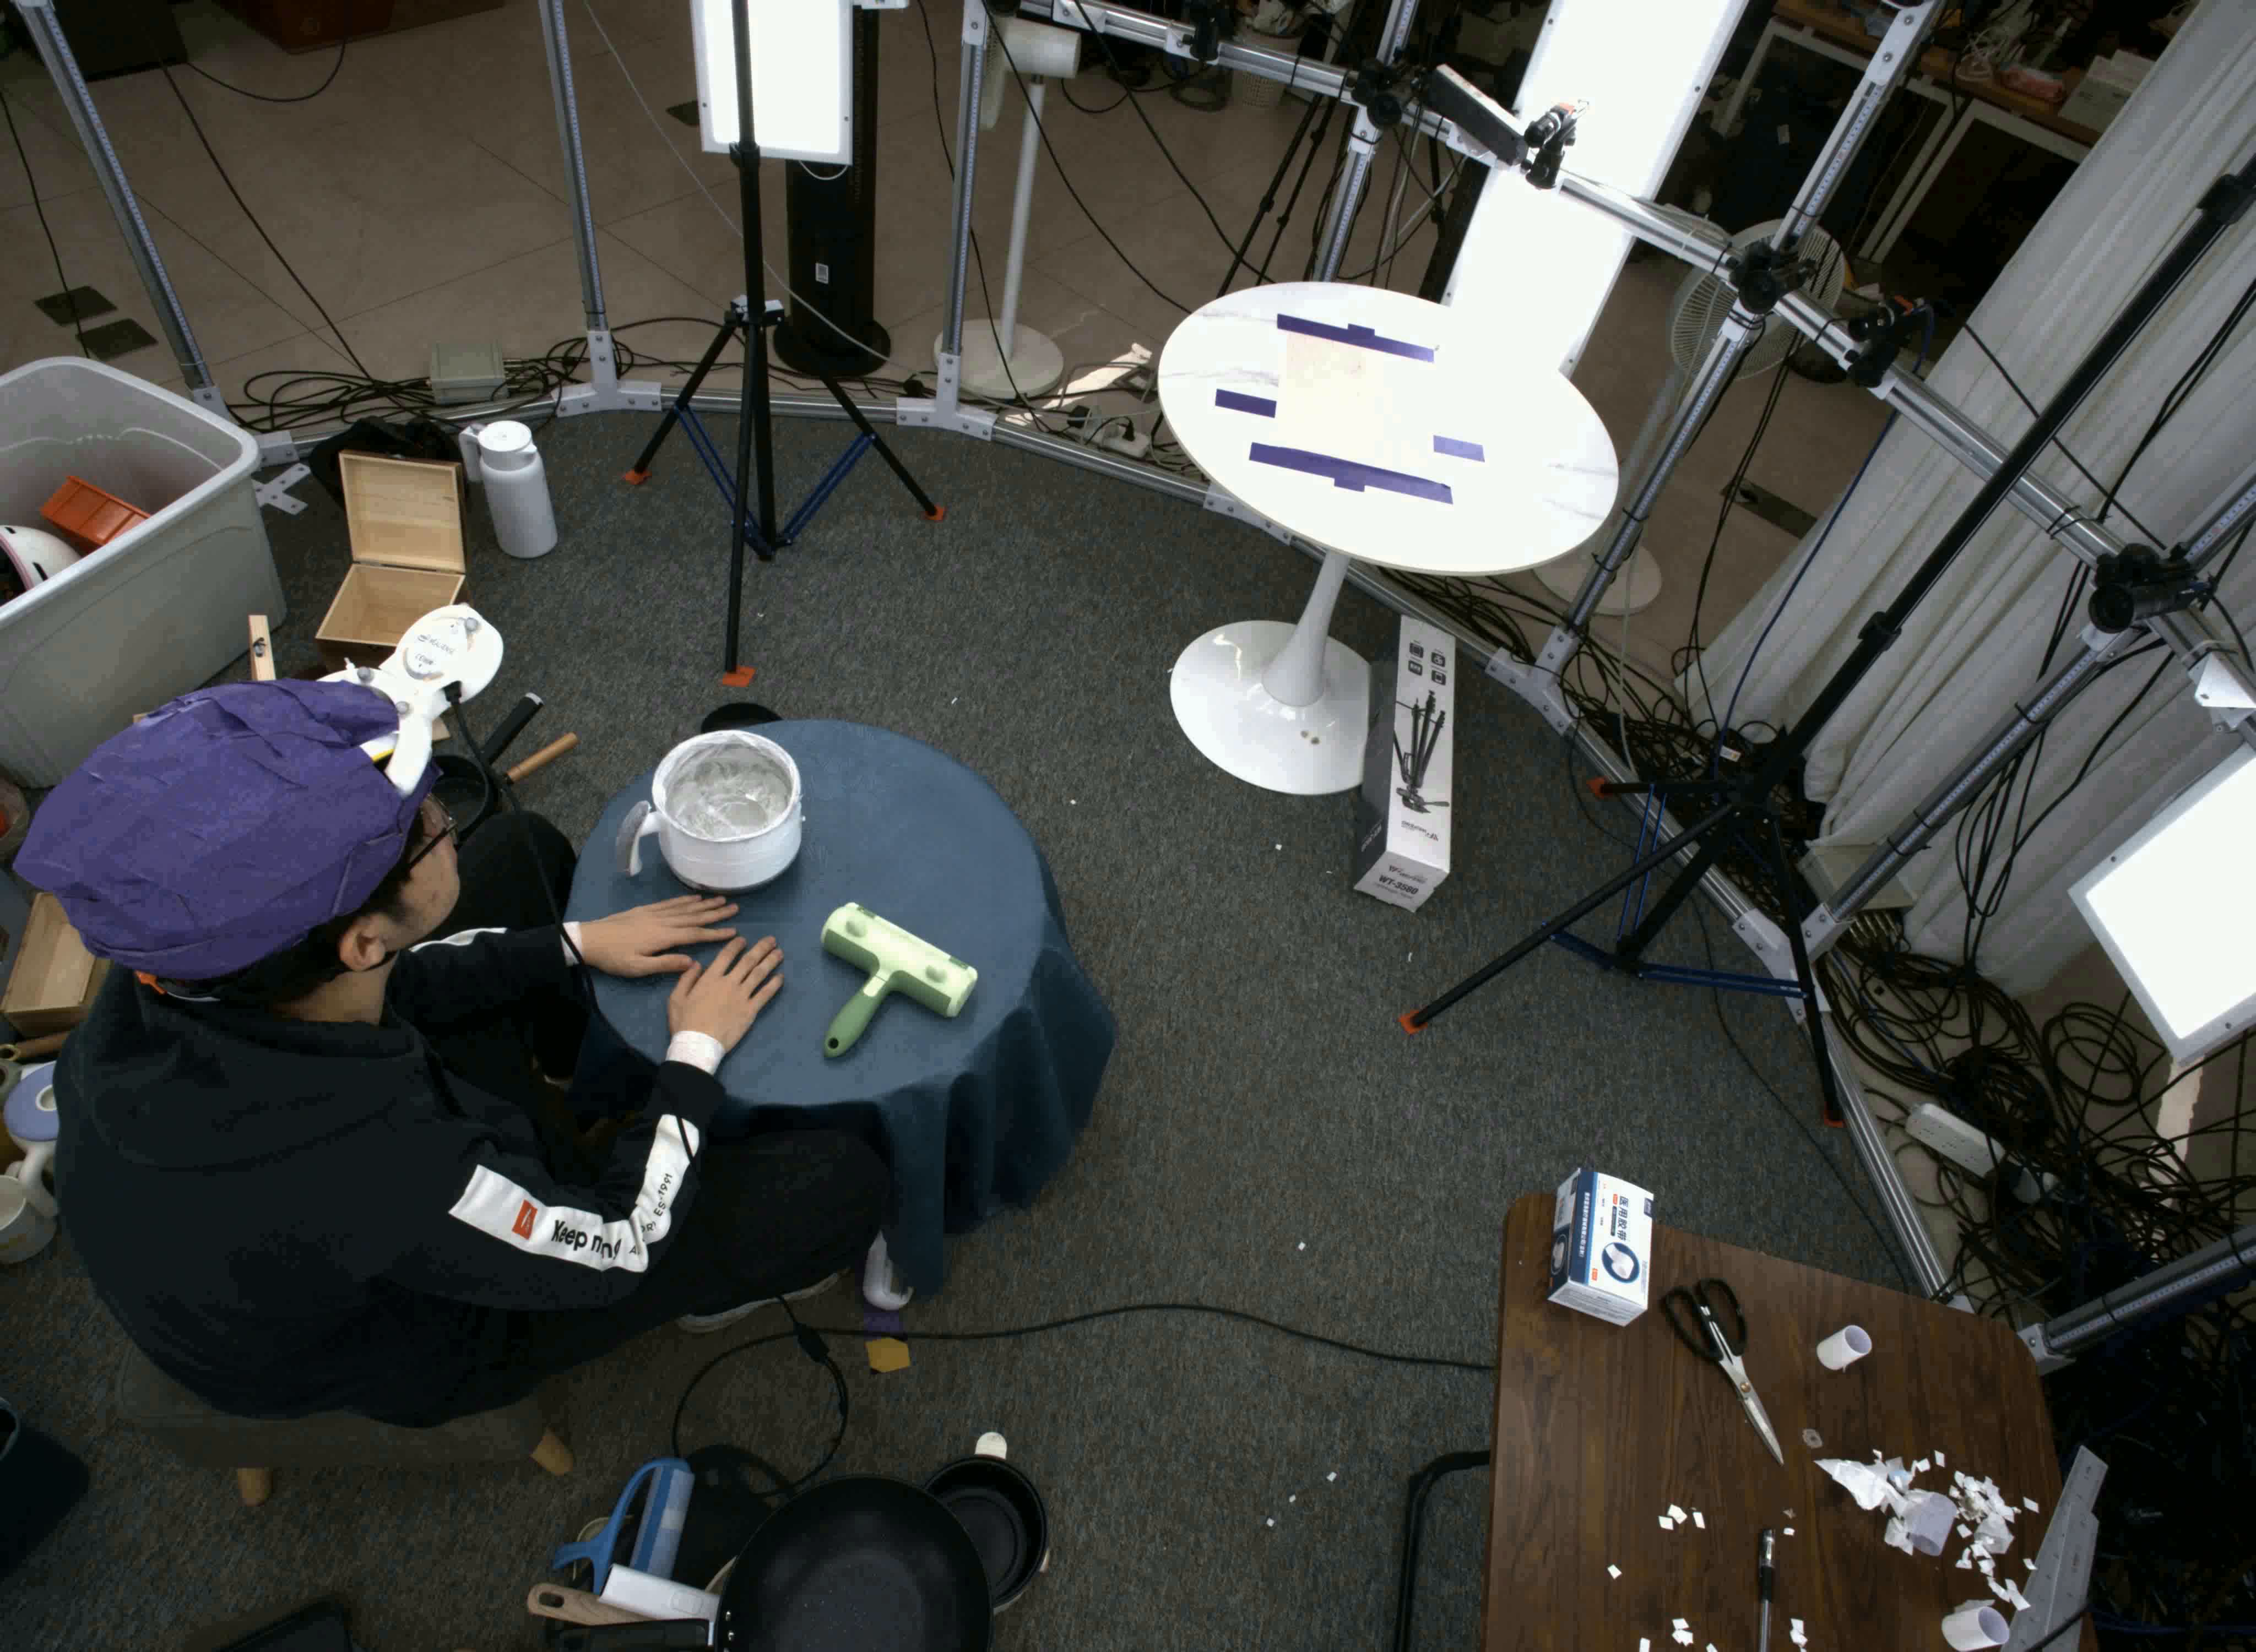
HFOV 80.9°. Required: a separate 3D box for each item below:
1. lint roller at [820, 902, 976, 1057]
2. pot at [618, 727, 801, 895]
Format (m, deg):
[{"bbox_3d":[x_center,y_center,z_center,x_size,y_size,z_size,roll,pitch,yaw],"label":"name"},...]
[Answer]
[{"bbox_3d":[-0.309,0.193,1.570,0.196,0.084,0.182,29,47,7],"label":"lint roller"},{"bbox_3d":[-0.527,-0.008,1.619,0.235,0.139,0.174,-18,59,-26],"label":"pot"}]
